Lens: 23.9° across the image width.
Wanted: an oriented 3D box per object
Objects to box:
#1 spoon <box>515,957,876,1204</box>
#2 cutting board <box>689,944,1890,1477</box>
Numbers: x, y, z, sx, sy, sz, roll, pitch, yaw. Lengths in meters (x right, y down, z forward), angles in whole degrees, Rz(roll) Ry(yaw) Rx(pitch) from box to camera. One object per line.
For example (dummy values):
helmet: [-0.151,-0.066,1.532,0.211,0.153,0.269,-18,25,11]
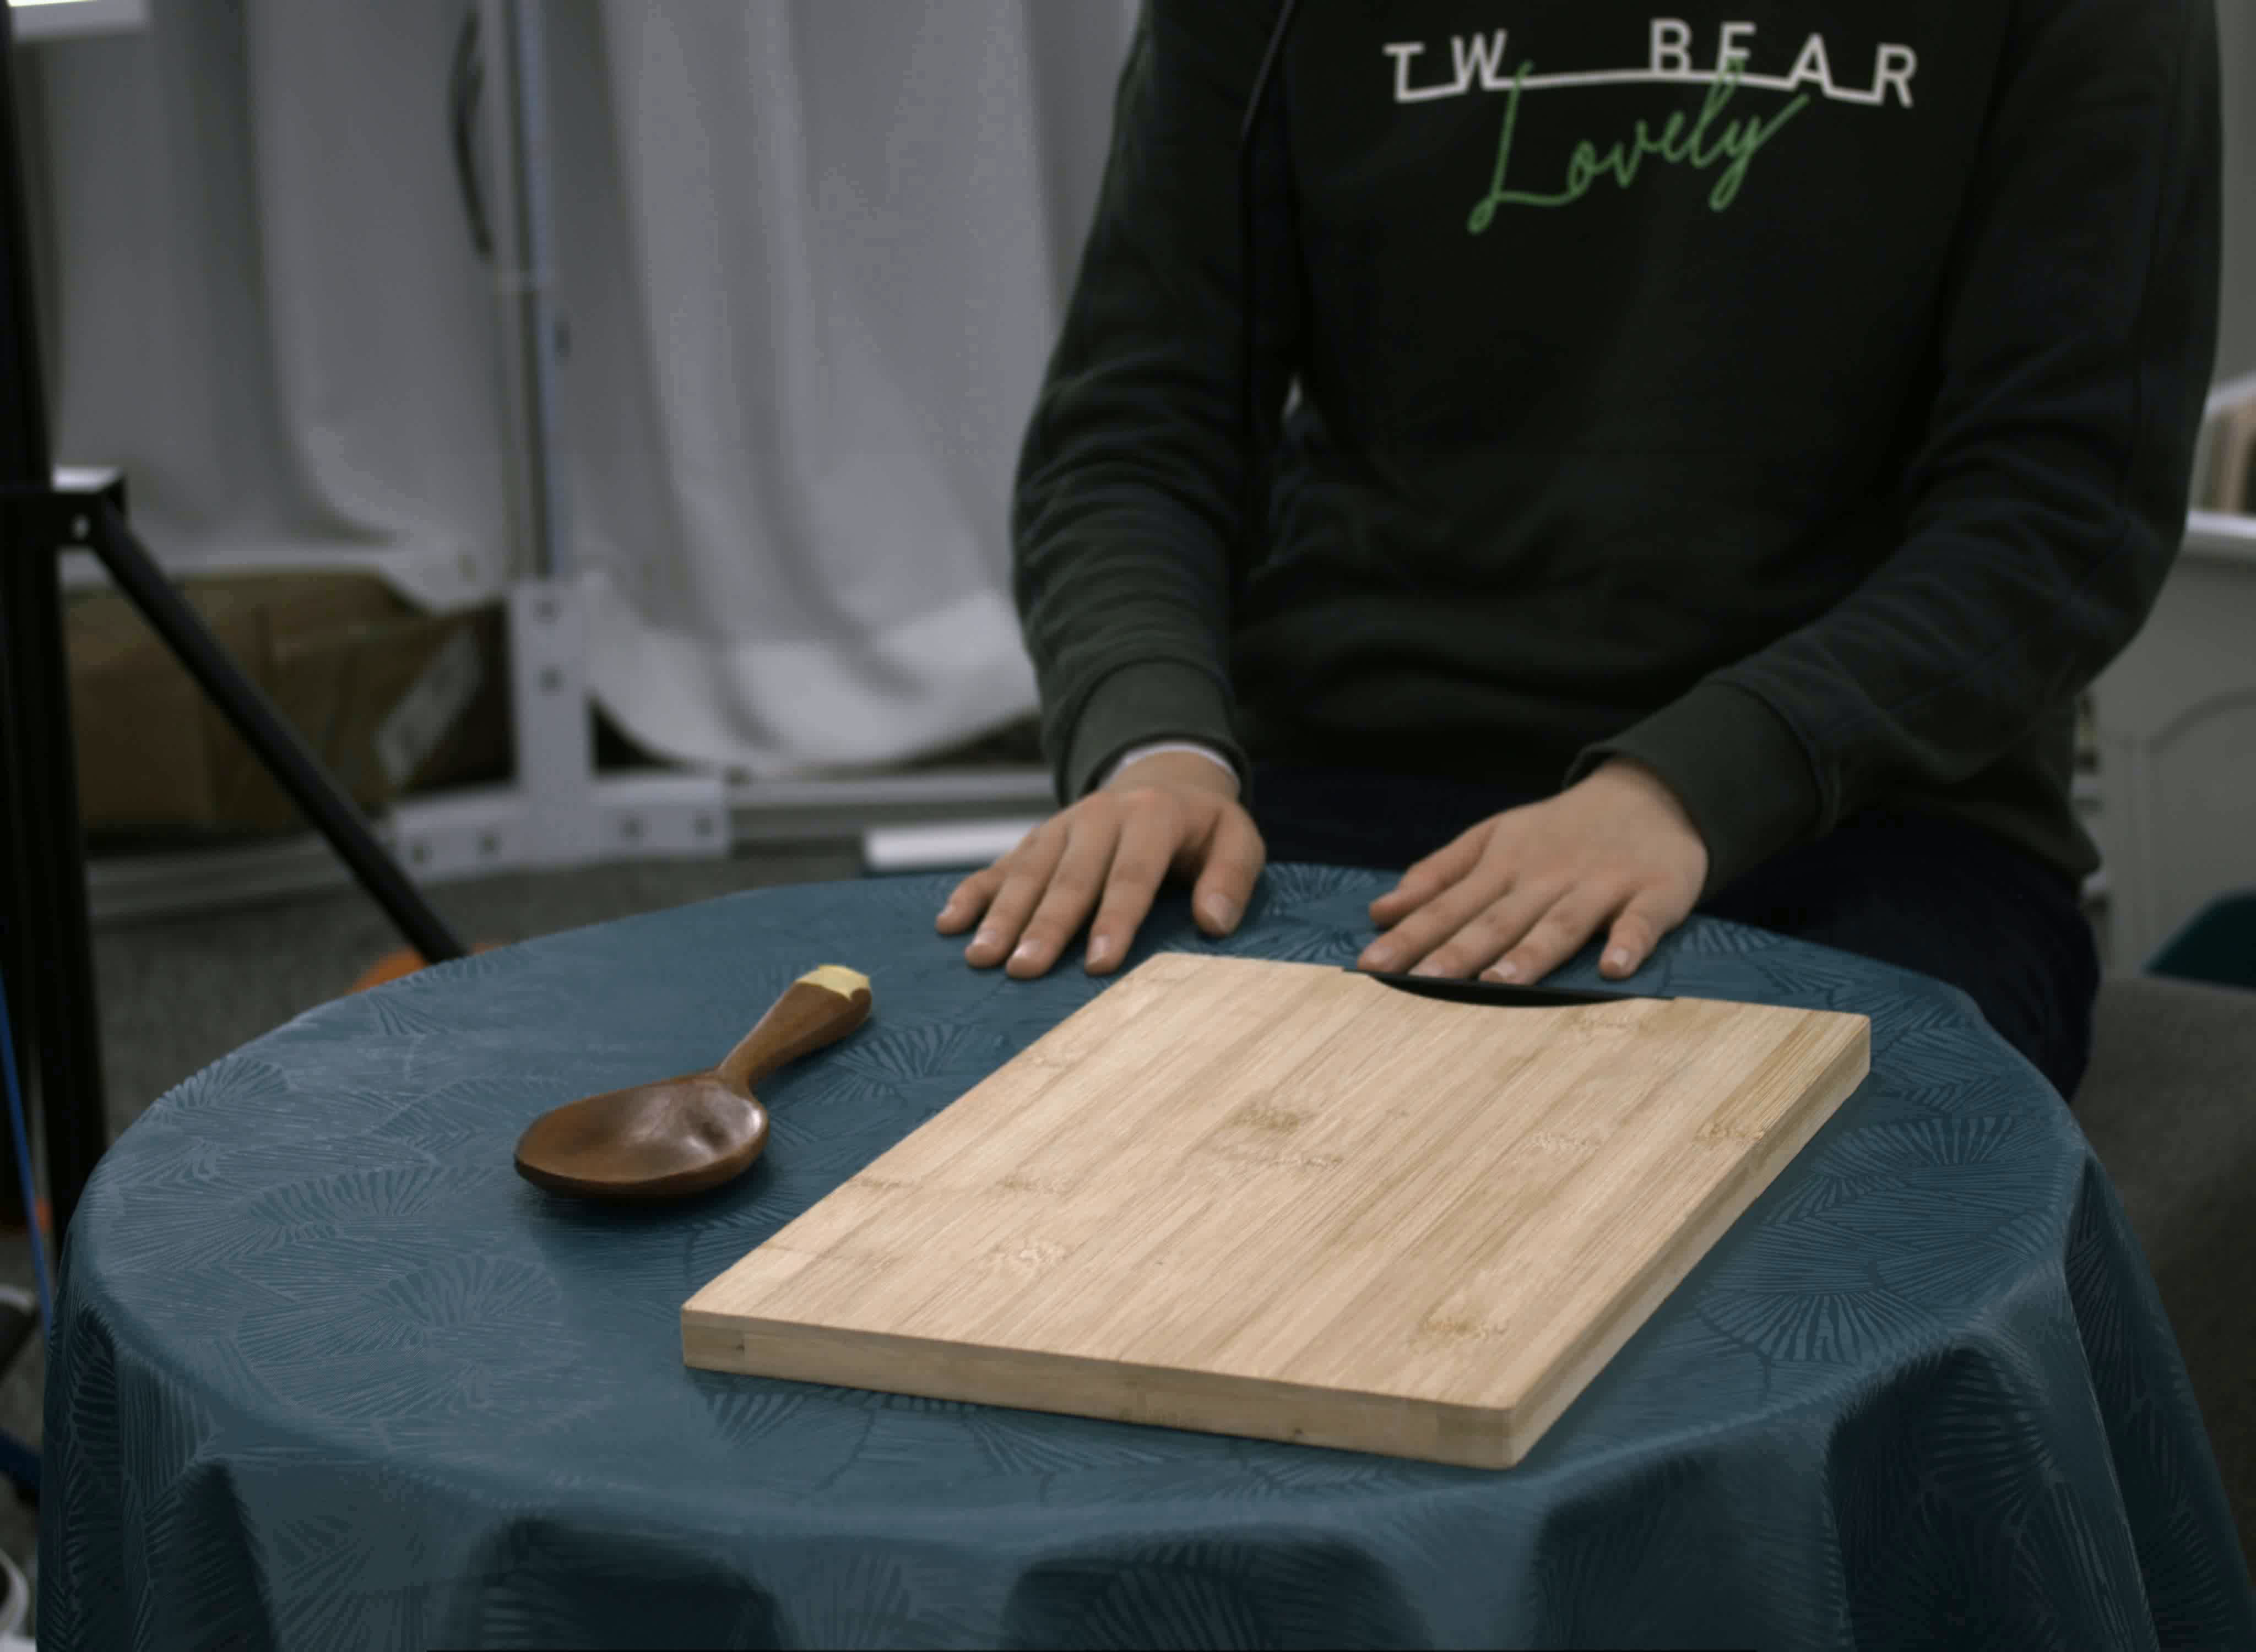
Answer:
spoon: [-0.123,0.080,1.645,0.076,0.017,0.213,1,17,19]
cutting board: [0.057,0.102,1.540,0.254,0.023,0.344,5,17,23]
